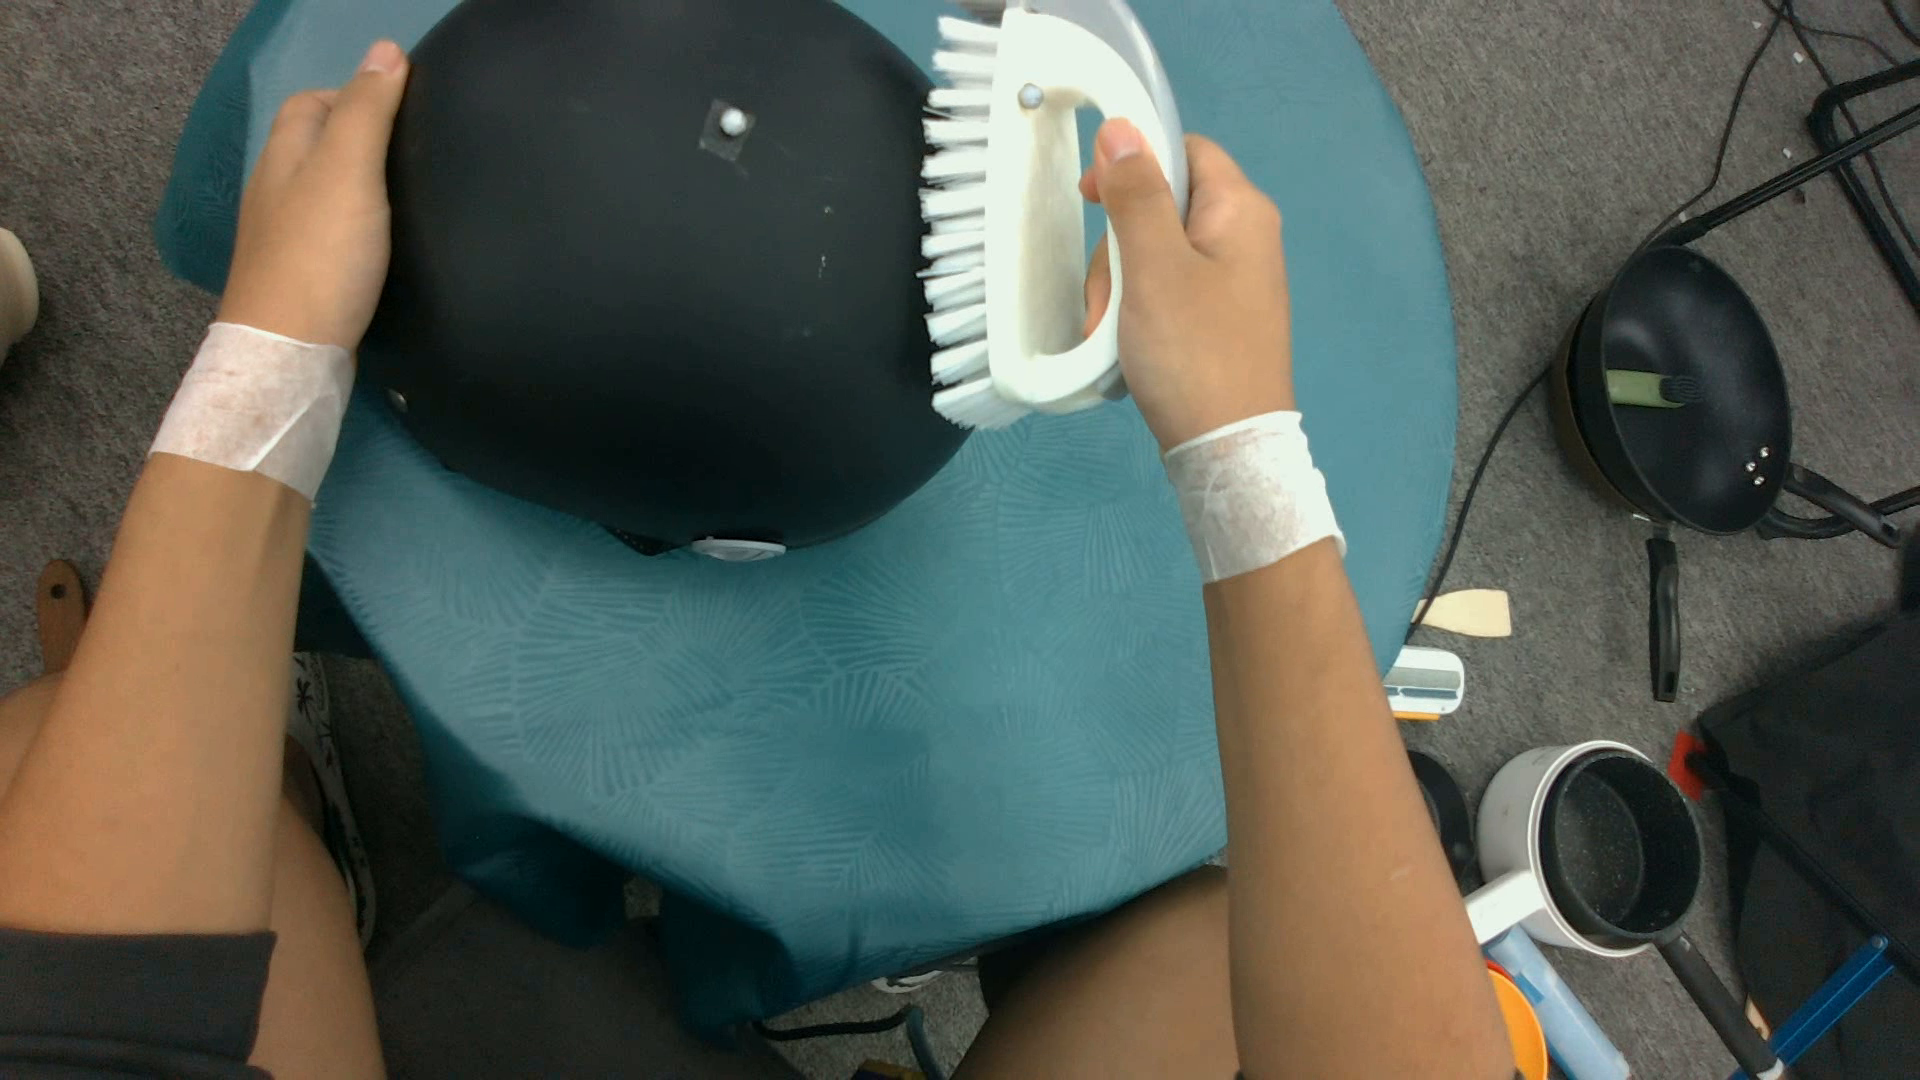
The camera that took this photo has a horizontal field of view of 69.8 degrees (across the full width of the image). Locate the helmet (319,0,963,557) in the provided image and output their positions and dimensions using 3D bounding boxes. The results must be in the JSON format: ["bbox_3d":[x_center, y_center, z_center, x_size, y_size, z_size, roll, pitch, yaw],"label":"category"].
[{"bbox_3d":[-0.097,-0.117,0.529,0.273,0.166,0.230,17,76,-22],"label":"helmet"}]

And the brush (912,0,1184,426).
[{"bbox_3d":[0.031,-0.132,0.486,0.061,0.094,0.175,7,80,-61],"label":"brush"}]
